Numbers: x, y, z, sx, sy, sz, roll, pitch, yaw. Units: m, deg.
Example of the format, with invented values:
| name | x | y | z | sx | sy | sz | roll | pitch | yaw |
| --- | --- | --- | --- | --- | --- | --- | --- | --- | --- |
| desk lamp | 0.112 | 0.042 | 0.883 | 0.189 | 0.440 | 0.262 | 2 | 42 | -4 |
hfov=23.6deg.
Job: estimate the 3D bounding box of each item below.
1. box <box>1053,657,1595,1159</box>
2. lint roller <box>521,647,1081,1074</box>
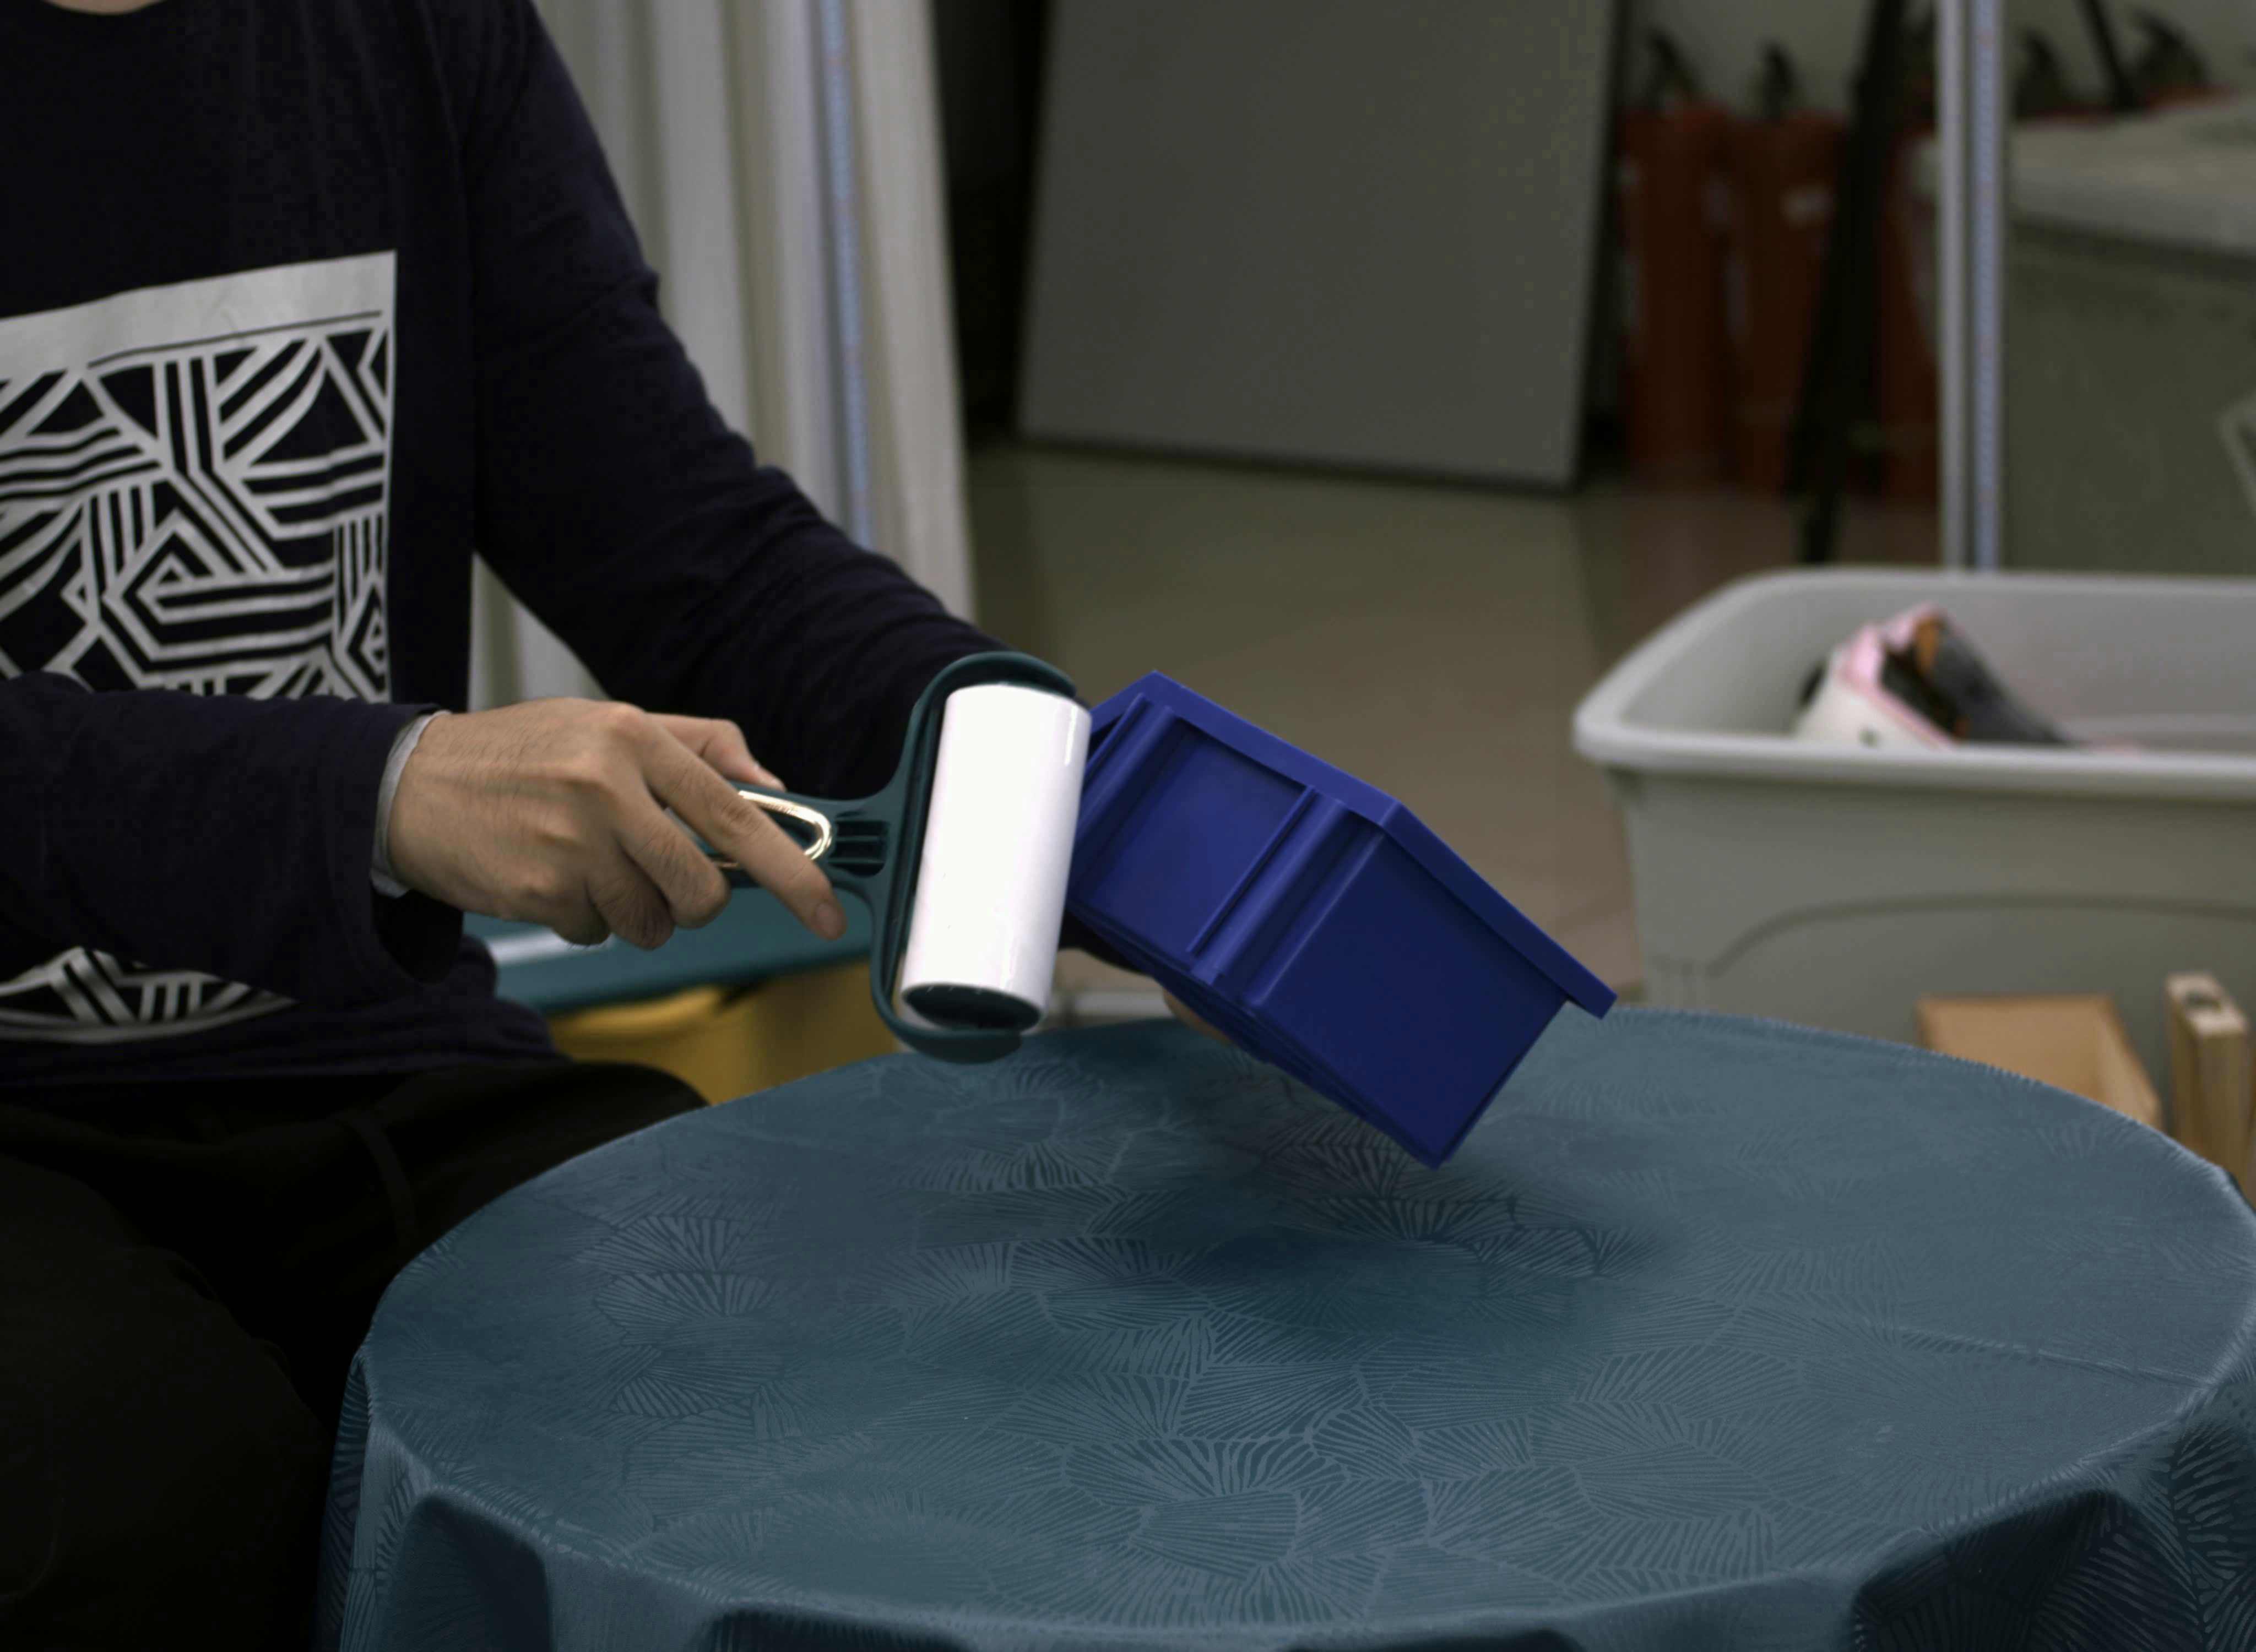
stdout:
| name | x | y | z | sx | sy | sz | roll | pitch | yaw |
| --- | --- | --- | --- | --- | --- | --- | --- | --- | --- |
| box | 0.046 | 0.023 | 1.755 | 0.123 | 0.082 | 0.181 | 39 | -3 | -33 |
| lint roller | -0.108 | 0.005 | 1.702 | 0.179 | 0.136 | 0.048 | 5 | -18 | 9 |
